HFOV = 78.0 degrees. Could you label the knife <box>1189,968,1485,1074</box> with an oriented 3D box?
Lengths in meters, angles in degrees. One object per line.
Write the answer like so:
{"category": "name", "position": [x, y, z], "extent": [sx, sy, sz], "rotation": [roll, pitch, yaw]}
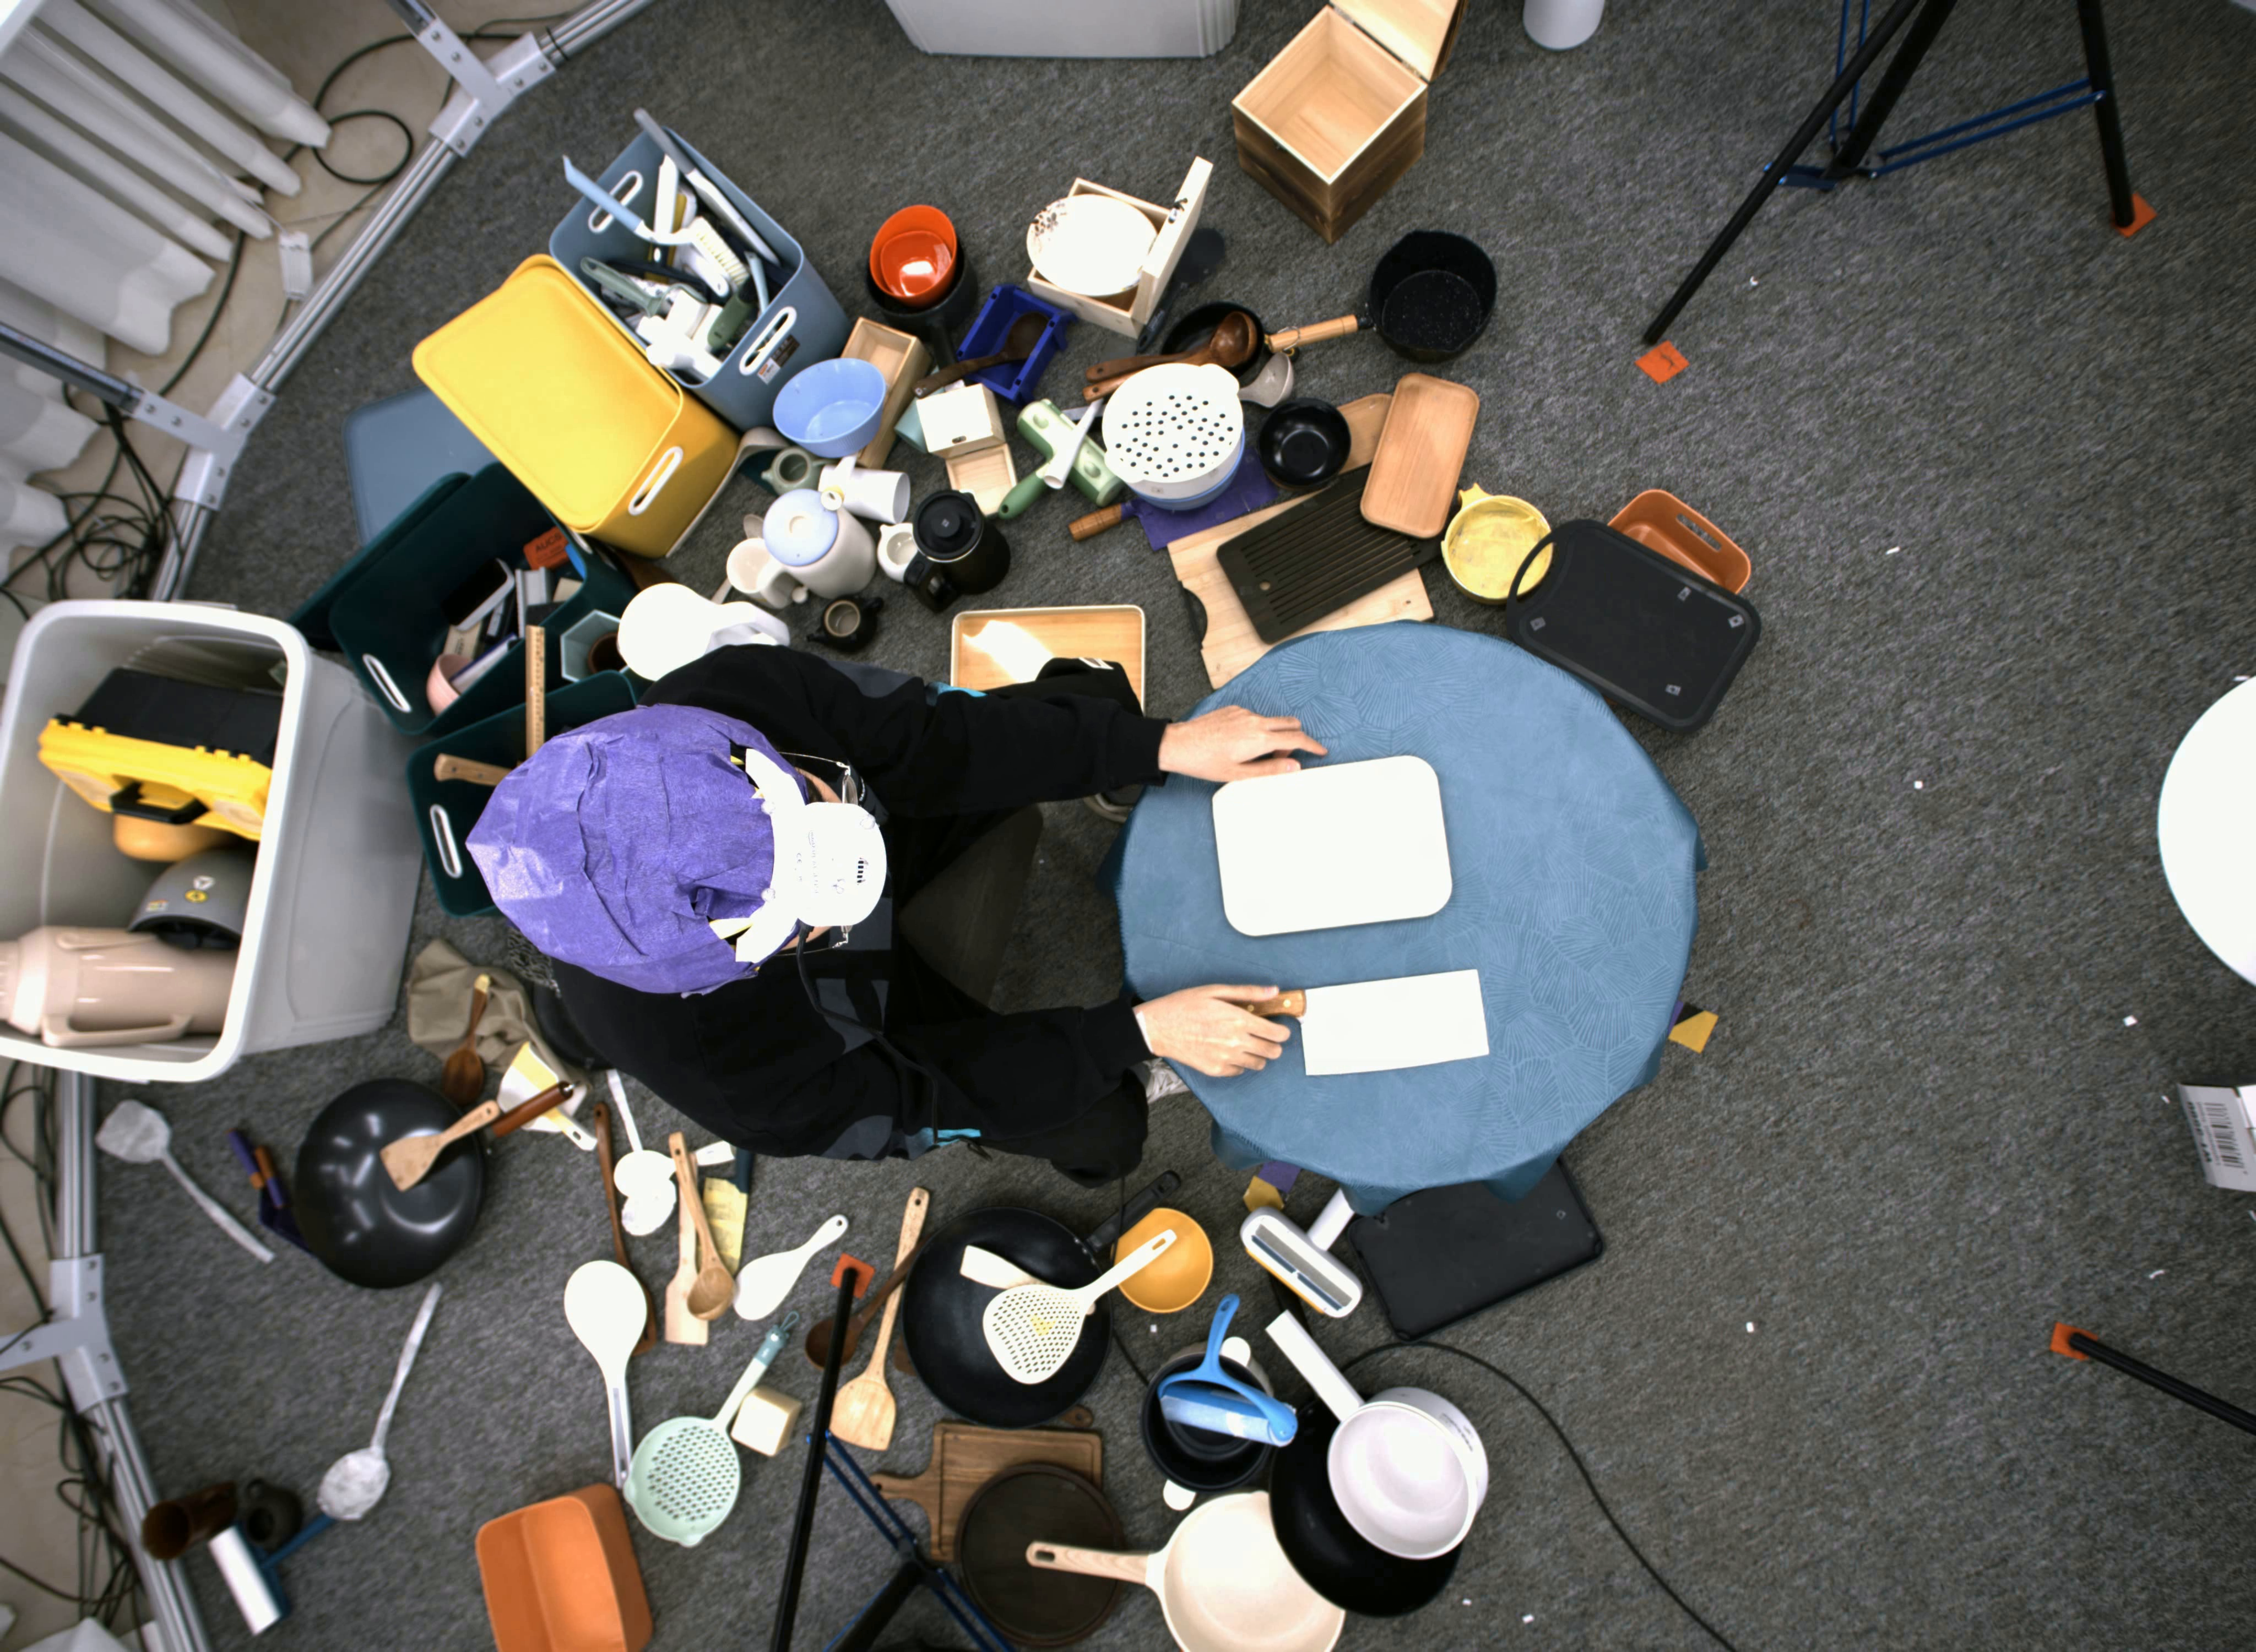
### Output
{"category": "knife", "position": [0.219, 0.210, 1.454], "extent": [0.307, 0.021, 0.092], "rotation": [-8, 87, 8]}

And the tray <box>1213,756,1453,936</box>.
{"category": "tray", "position": [0.215, 0.021, 1.463], "extent": [0.241, 0.017, 0.170], "rotation": [-7, 86, 10]}
